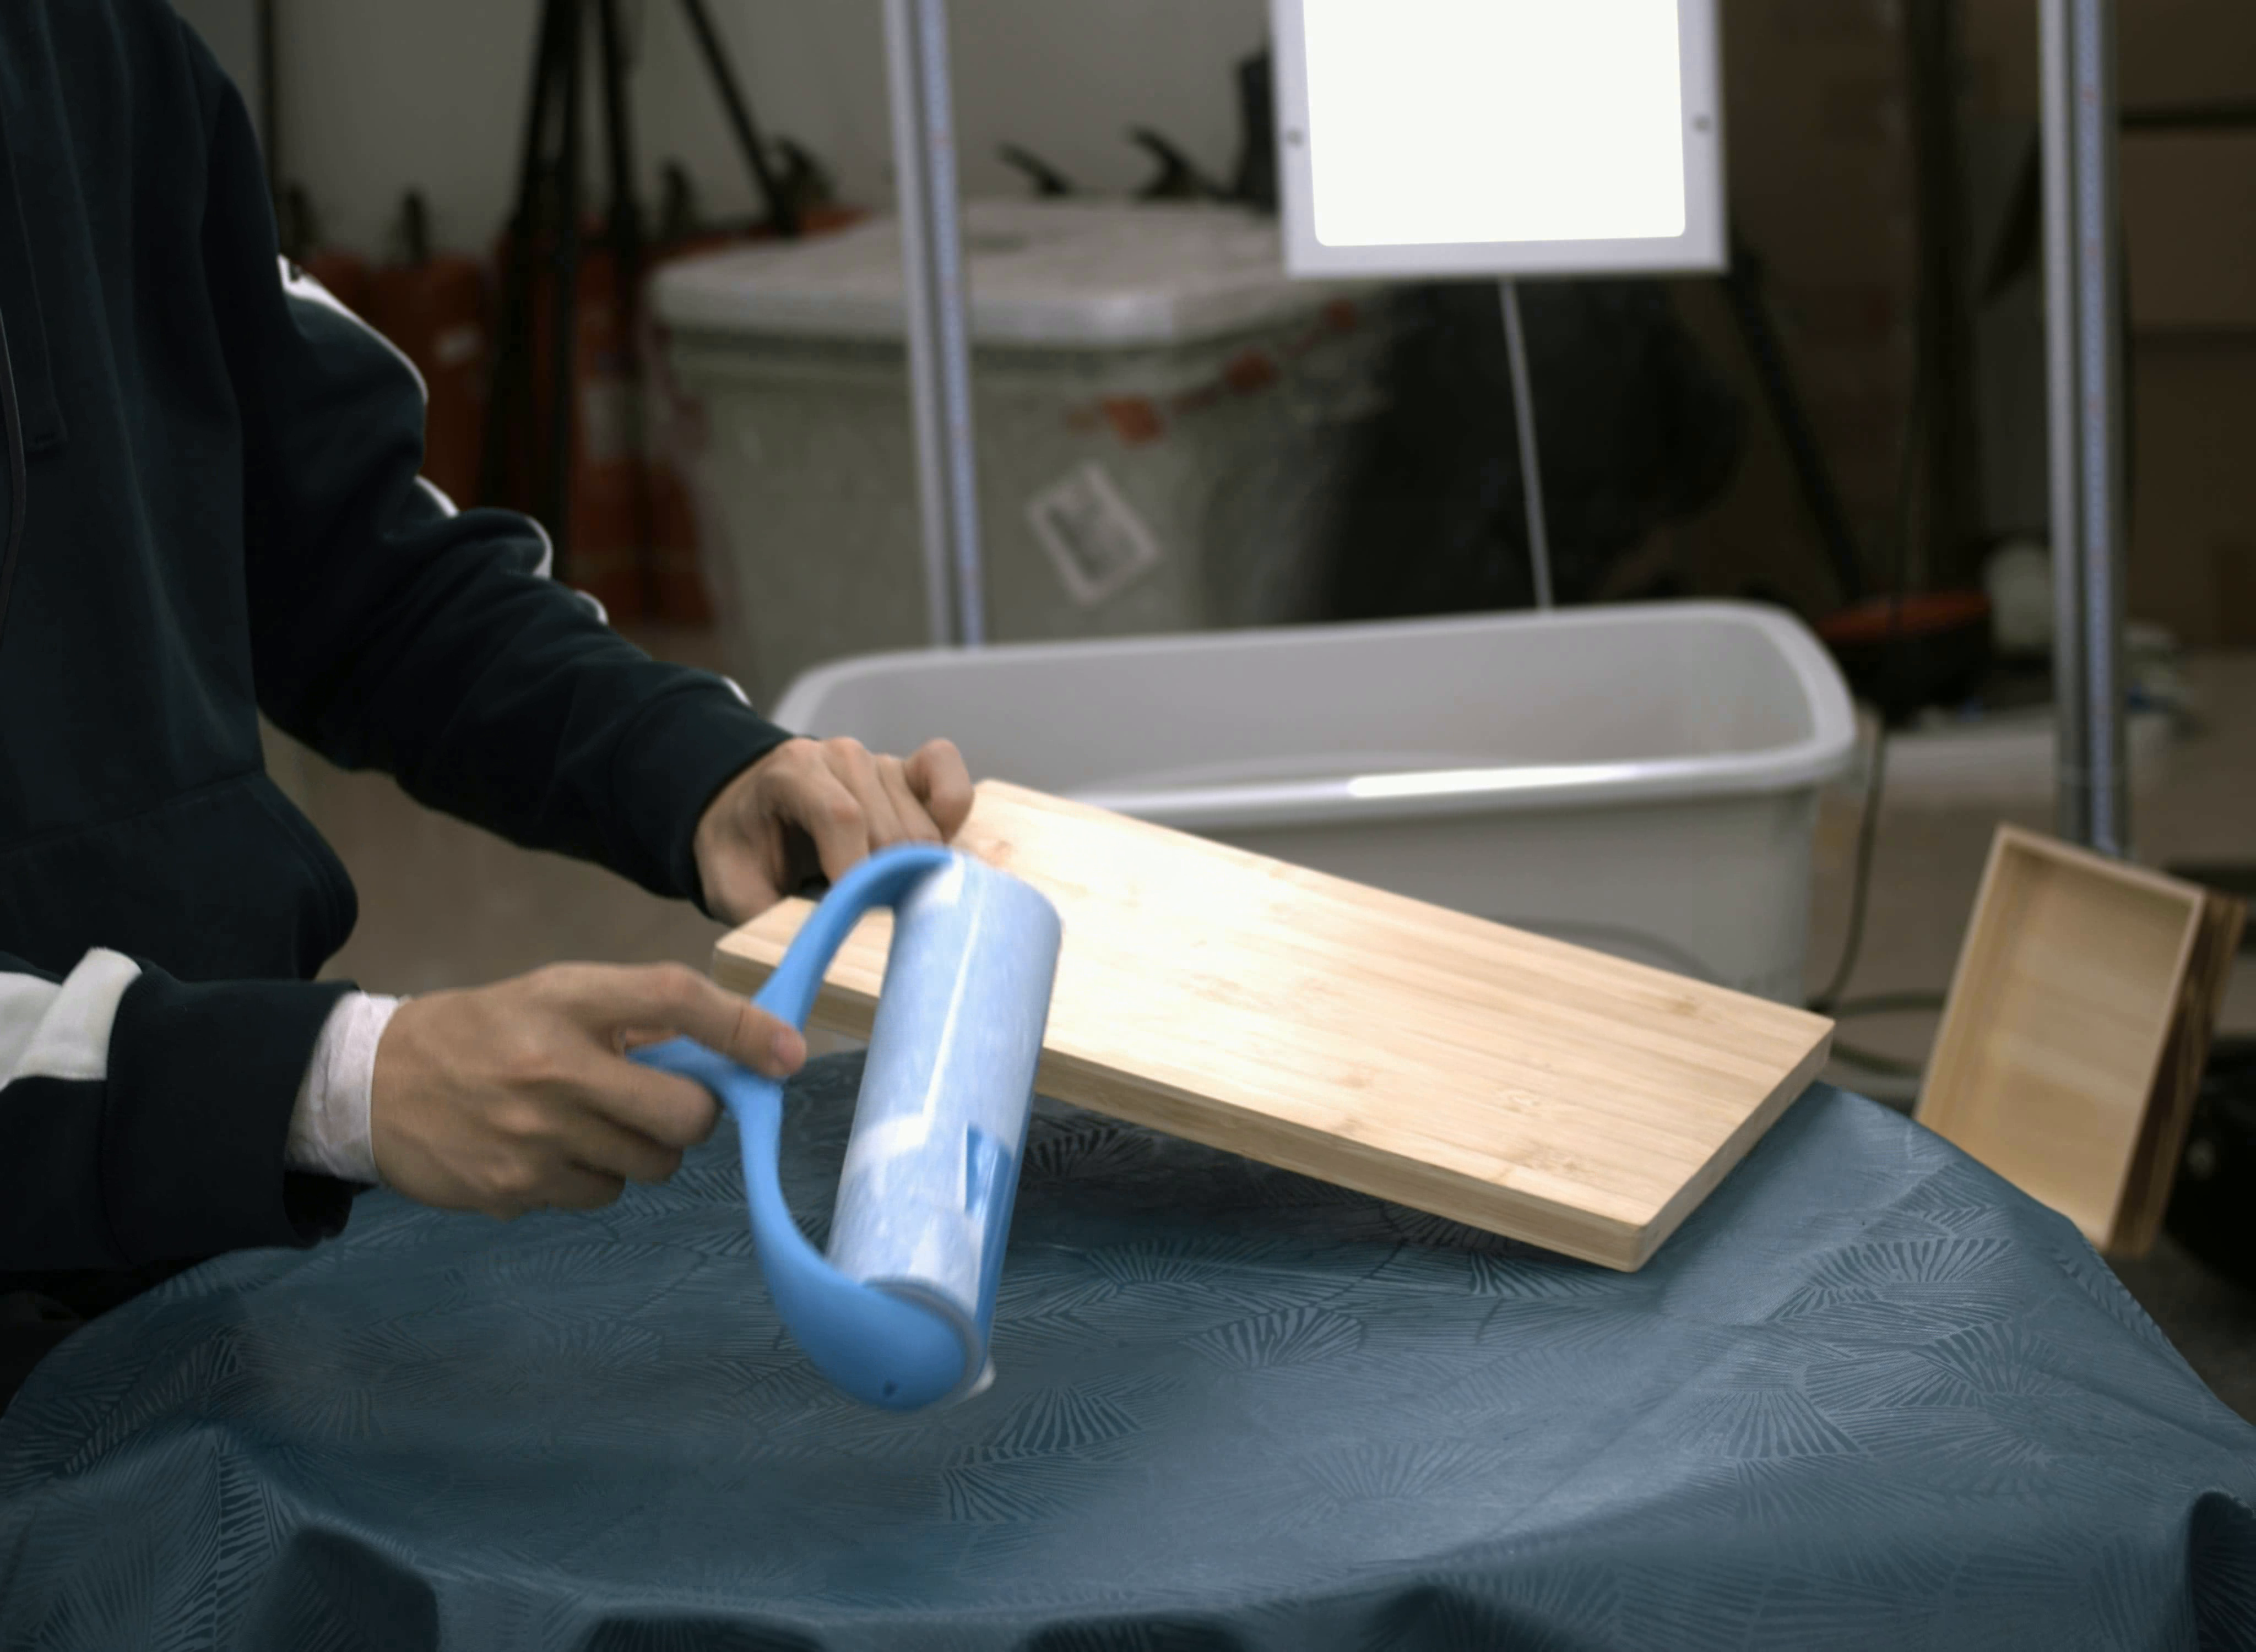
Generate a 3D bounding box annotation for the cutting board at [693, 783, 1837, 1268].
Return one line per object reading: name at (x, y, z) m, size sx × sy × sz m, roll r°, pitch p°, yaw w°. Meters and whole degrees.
cutting board at (0.053, 0.064, 1.927) m, size 0.353 × 0.024 × 0.246 m, roll 15°, pitch 20°, yaw 19°

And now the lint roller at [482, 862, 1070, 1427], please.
lint roller at (-0.115, 0.097, 1.691) m, size 0.181 × 0.068 × 0.227 m, roll -1°, pitch 39°, yaw 8°
